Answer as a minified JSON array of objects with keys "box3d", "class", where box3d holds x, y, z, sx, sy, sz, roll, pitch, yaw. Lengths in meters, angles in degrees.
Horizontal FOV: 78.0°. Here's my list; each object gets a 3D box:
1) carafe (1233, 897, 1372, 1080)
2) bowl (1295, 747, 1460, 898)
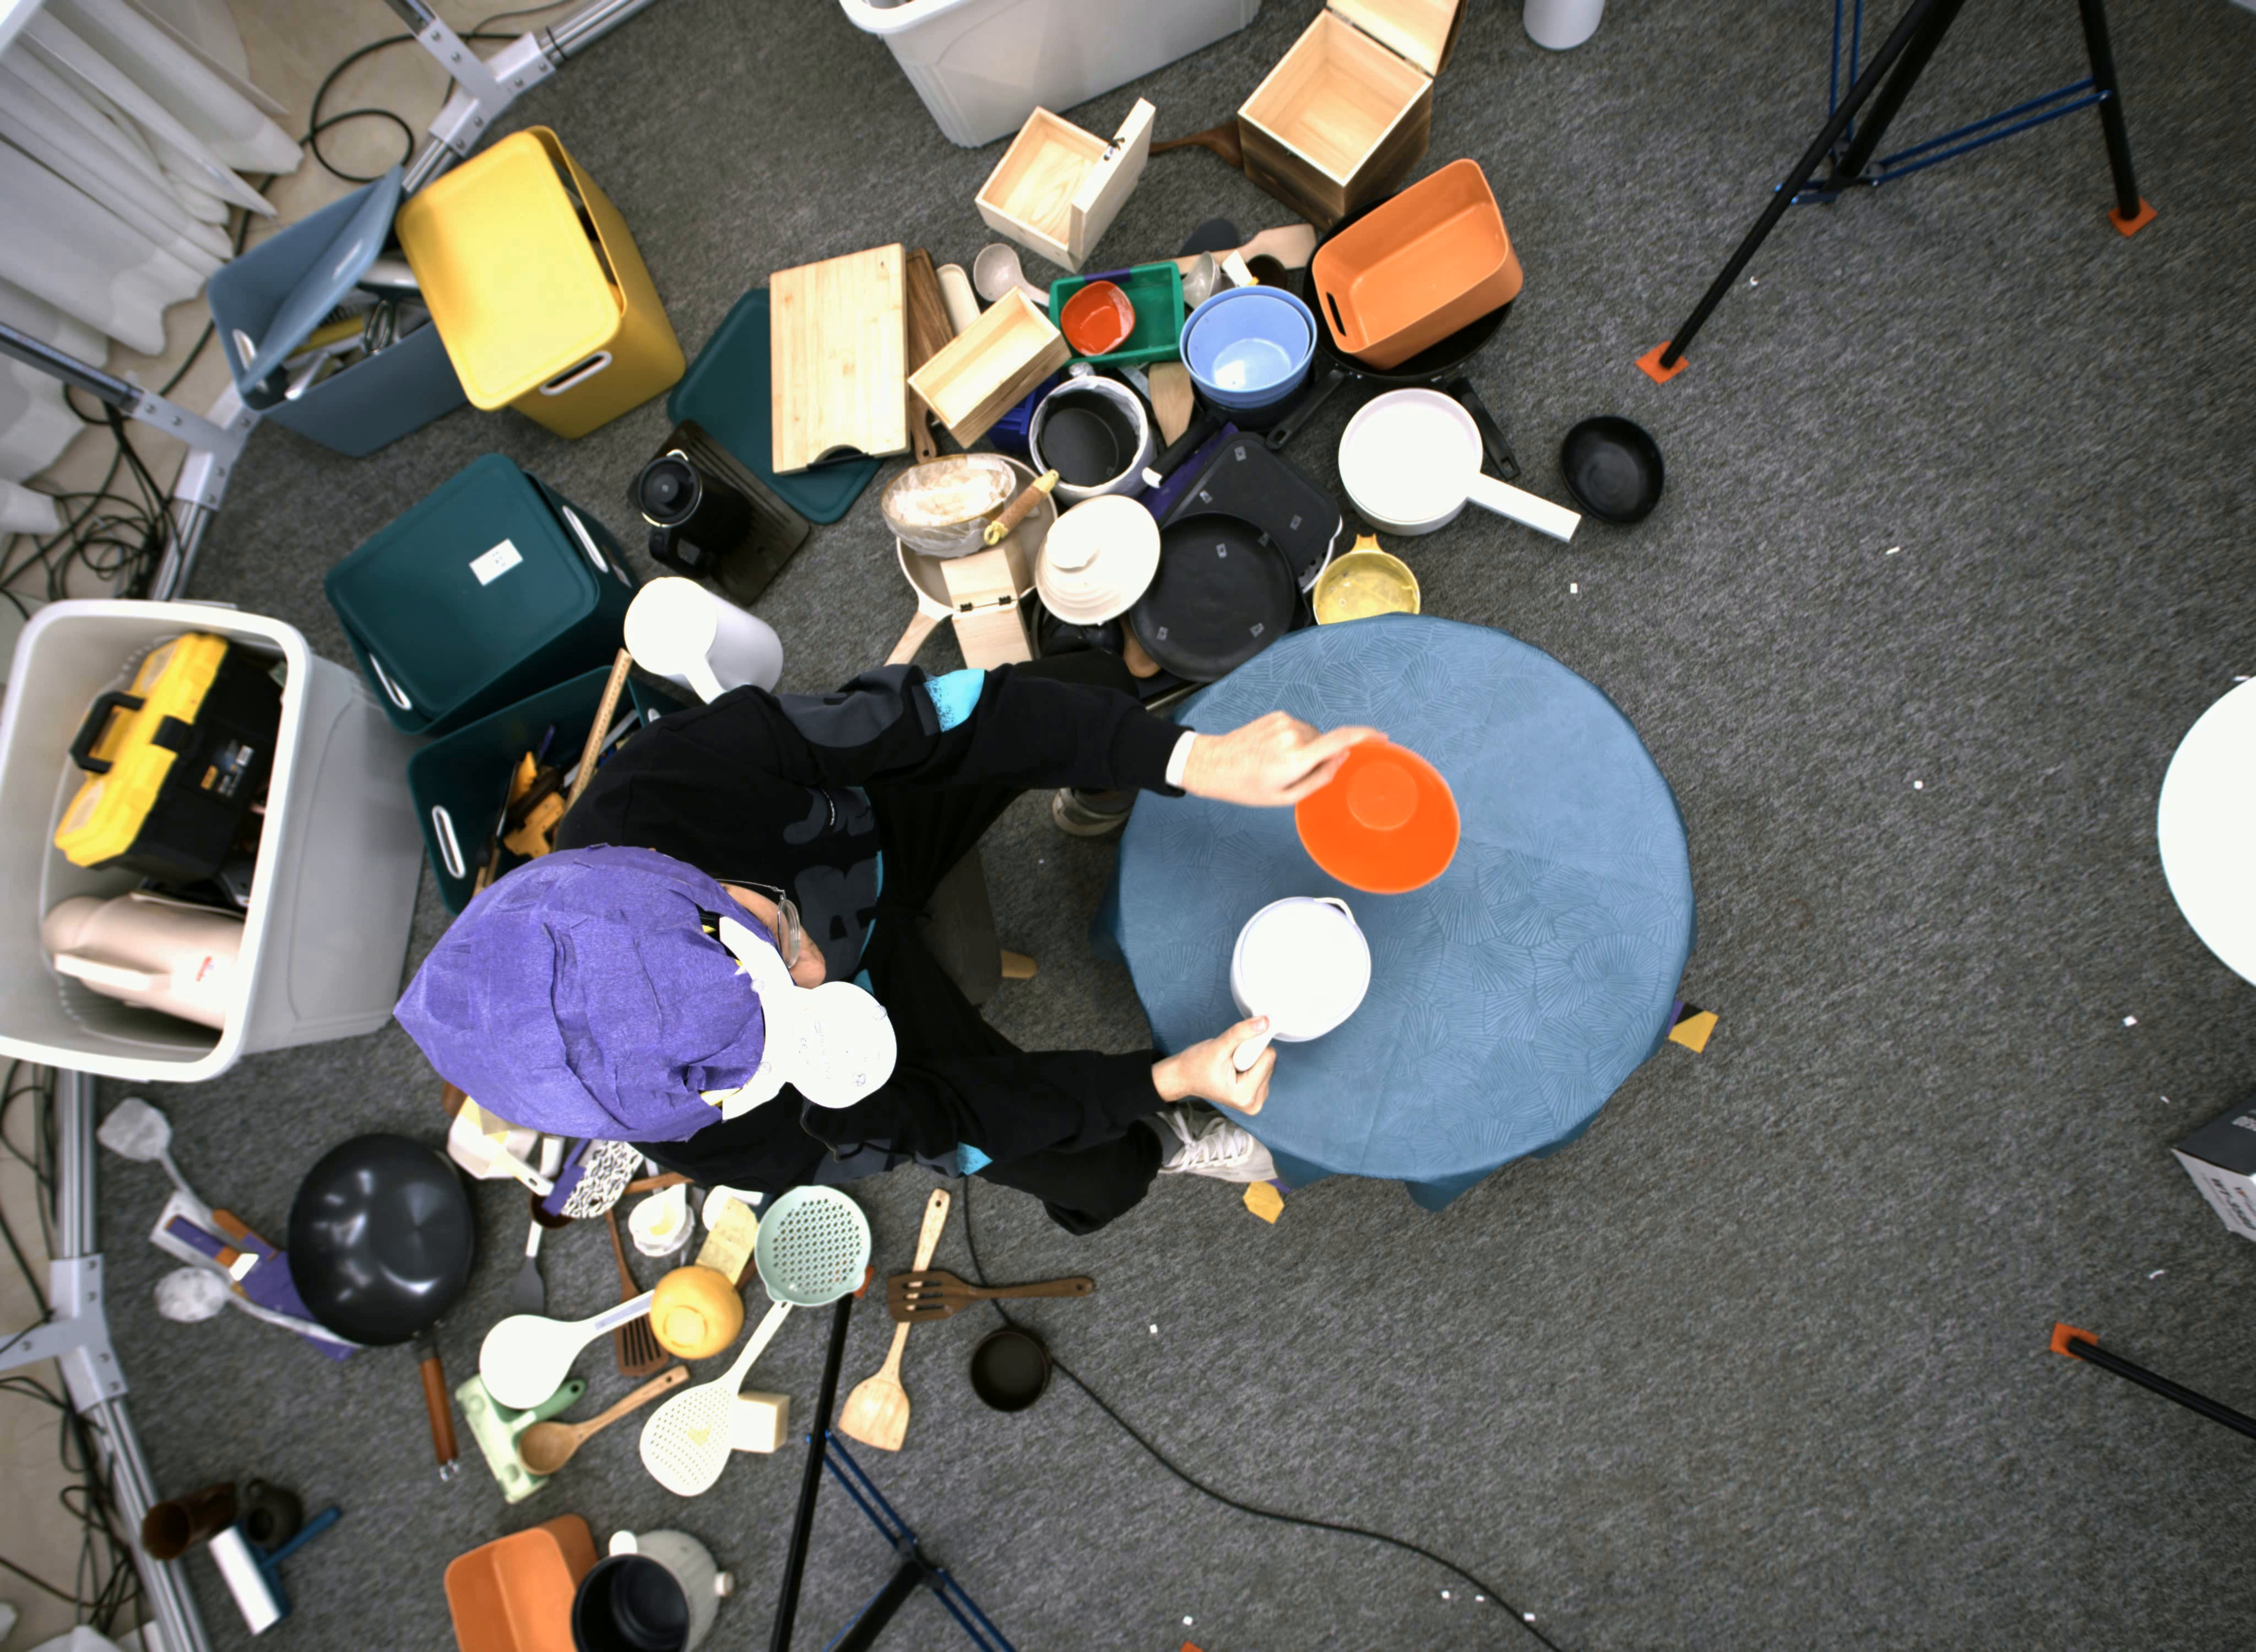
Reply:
[{"box3d":[0.156,0.162,1.356,0.132,0.183,0.190,30,86,9],"class":"carafe"},{"box3d":[0.230,-0.017,1.235,0.148,0.102,0.151,9,117,19],"class":"bowl"}]
